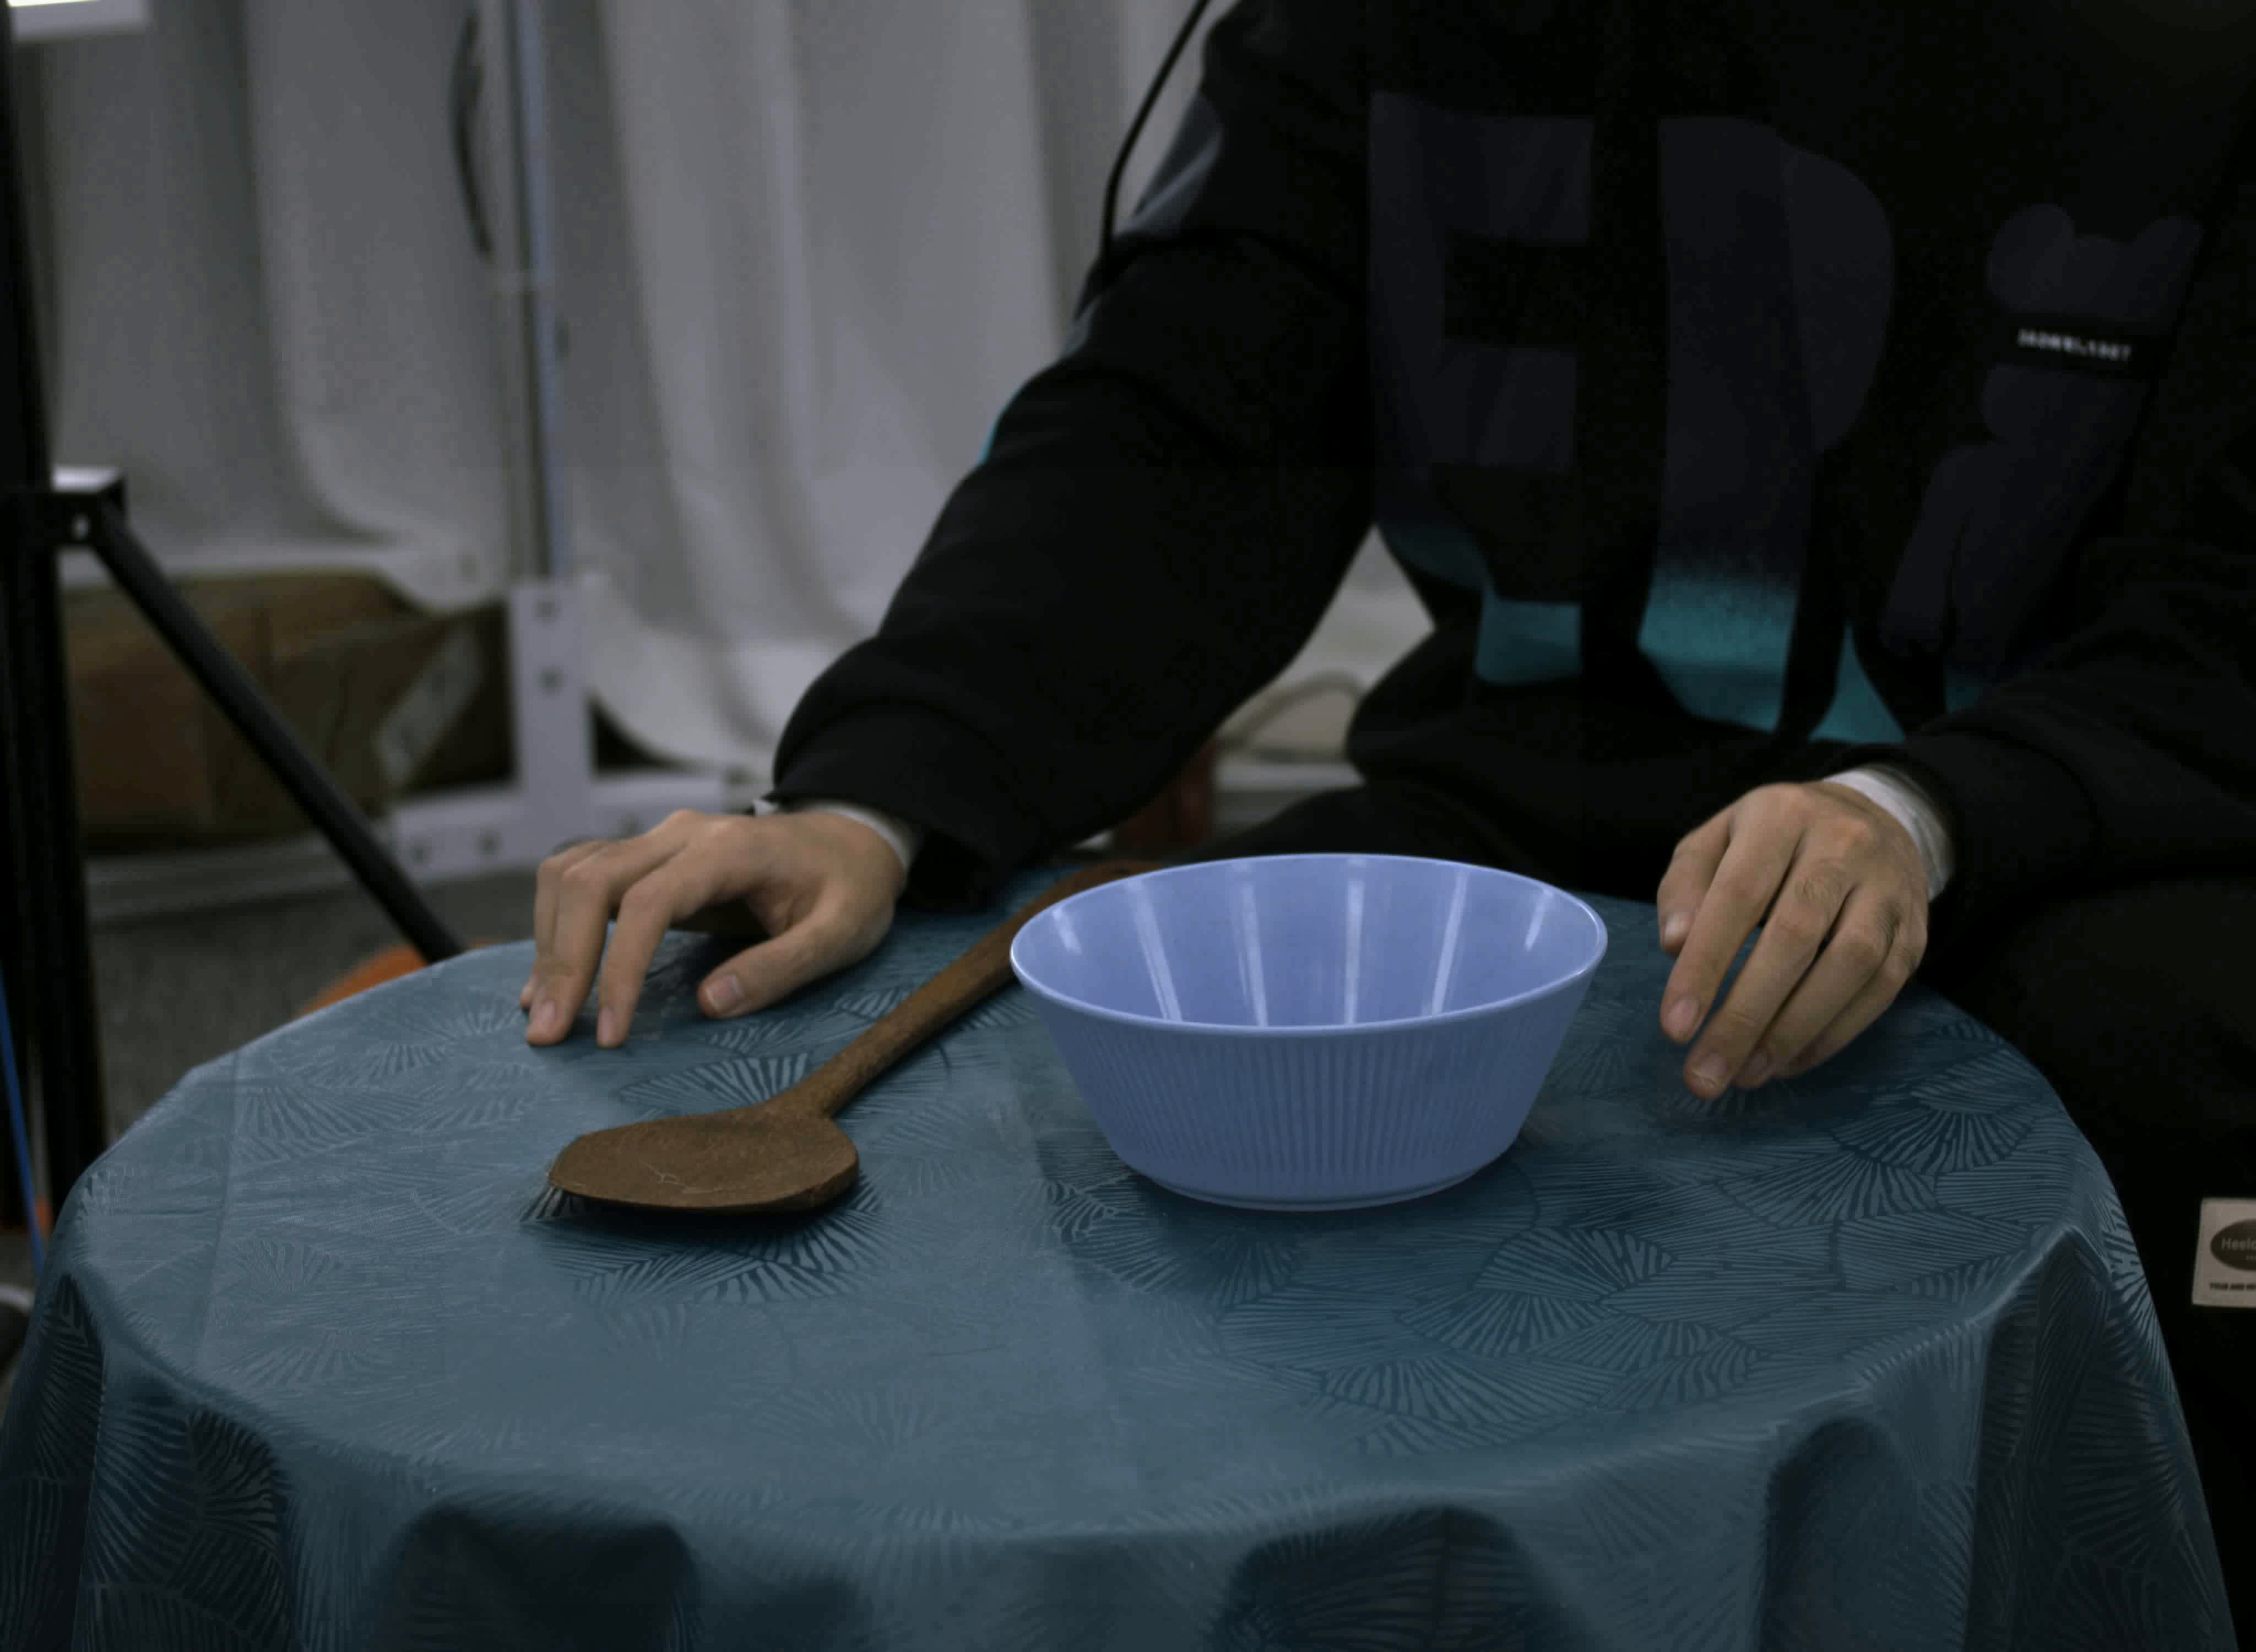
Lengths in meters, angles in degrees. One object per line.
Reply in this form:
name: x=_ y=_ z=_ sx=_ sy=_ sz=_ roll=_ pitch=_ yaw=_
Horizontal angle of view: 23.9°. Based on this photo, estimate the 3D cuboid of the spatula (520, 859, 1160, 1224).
spatula: x=-0.070 y=0.063 z=1.704 sx=0.097 sy=0.016 sz=0.380 roll=4 pitch=17 yaw=23

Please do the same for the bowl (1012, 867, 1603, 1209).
bowl: x=0.054 y=0.065 z=1.574 sx=0.175 sy=0.070 sz=0.177 roll=-2 pitch=14 yaw=-1
